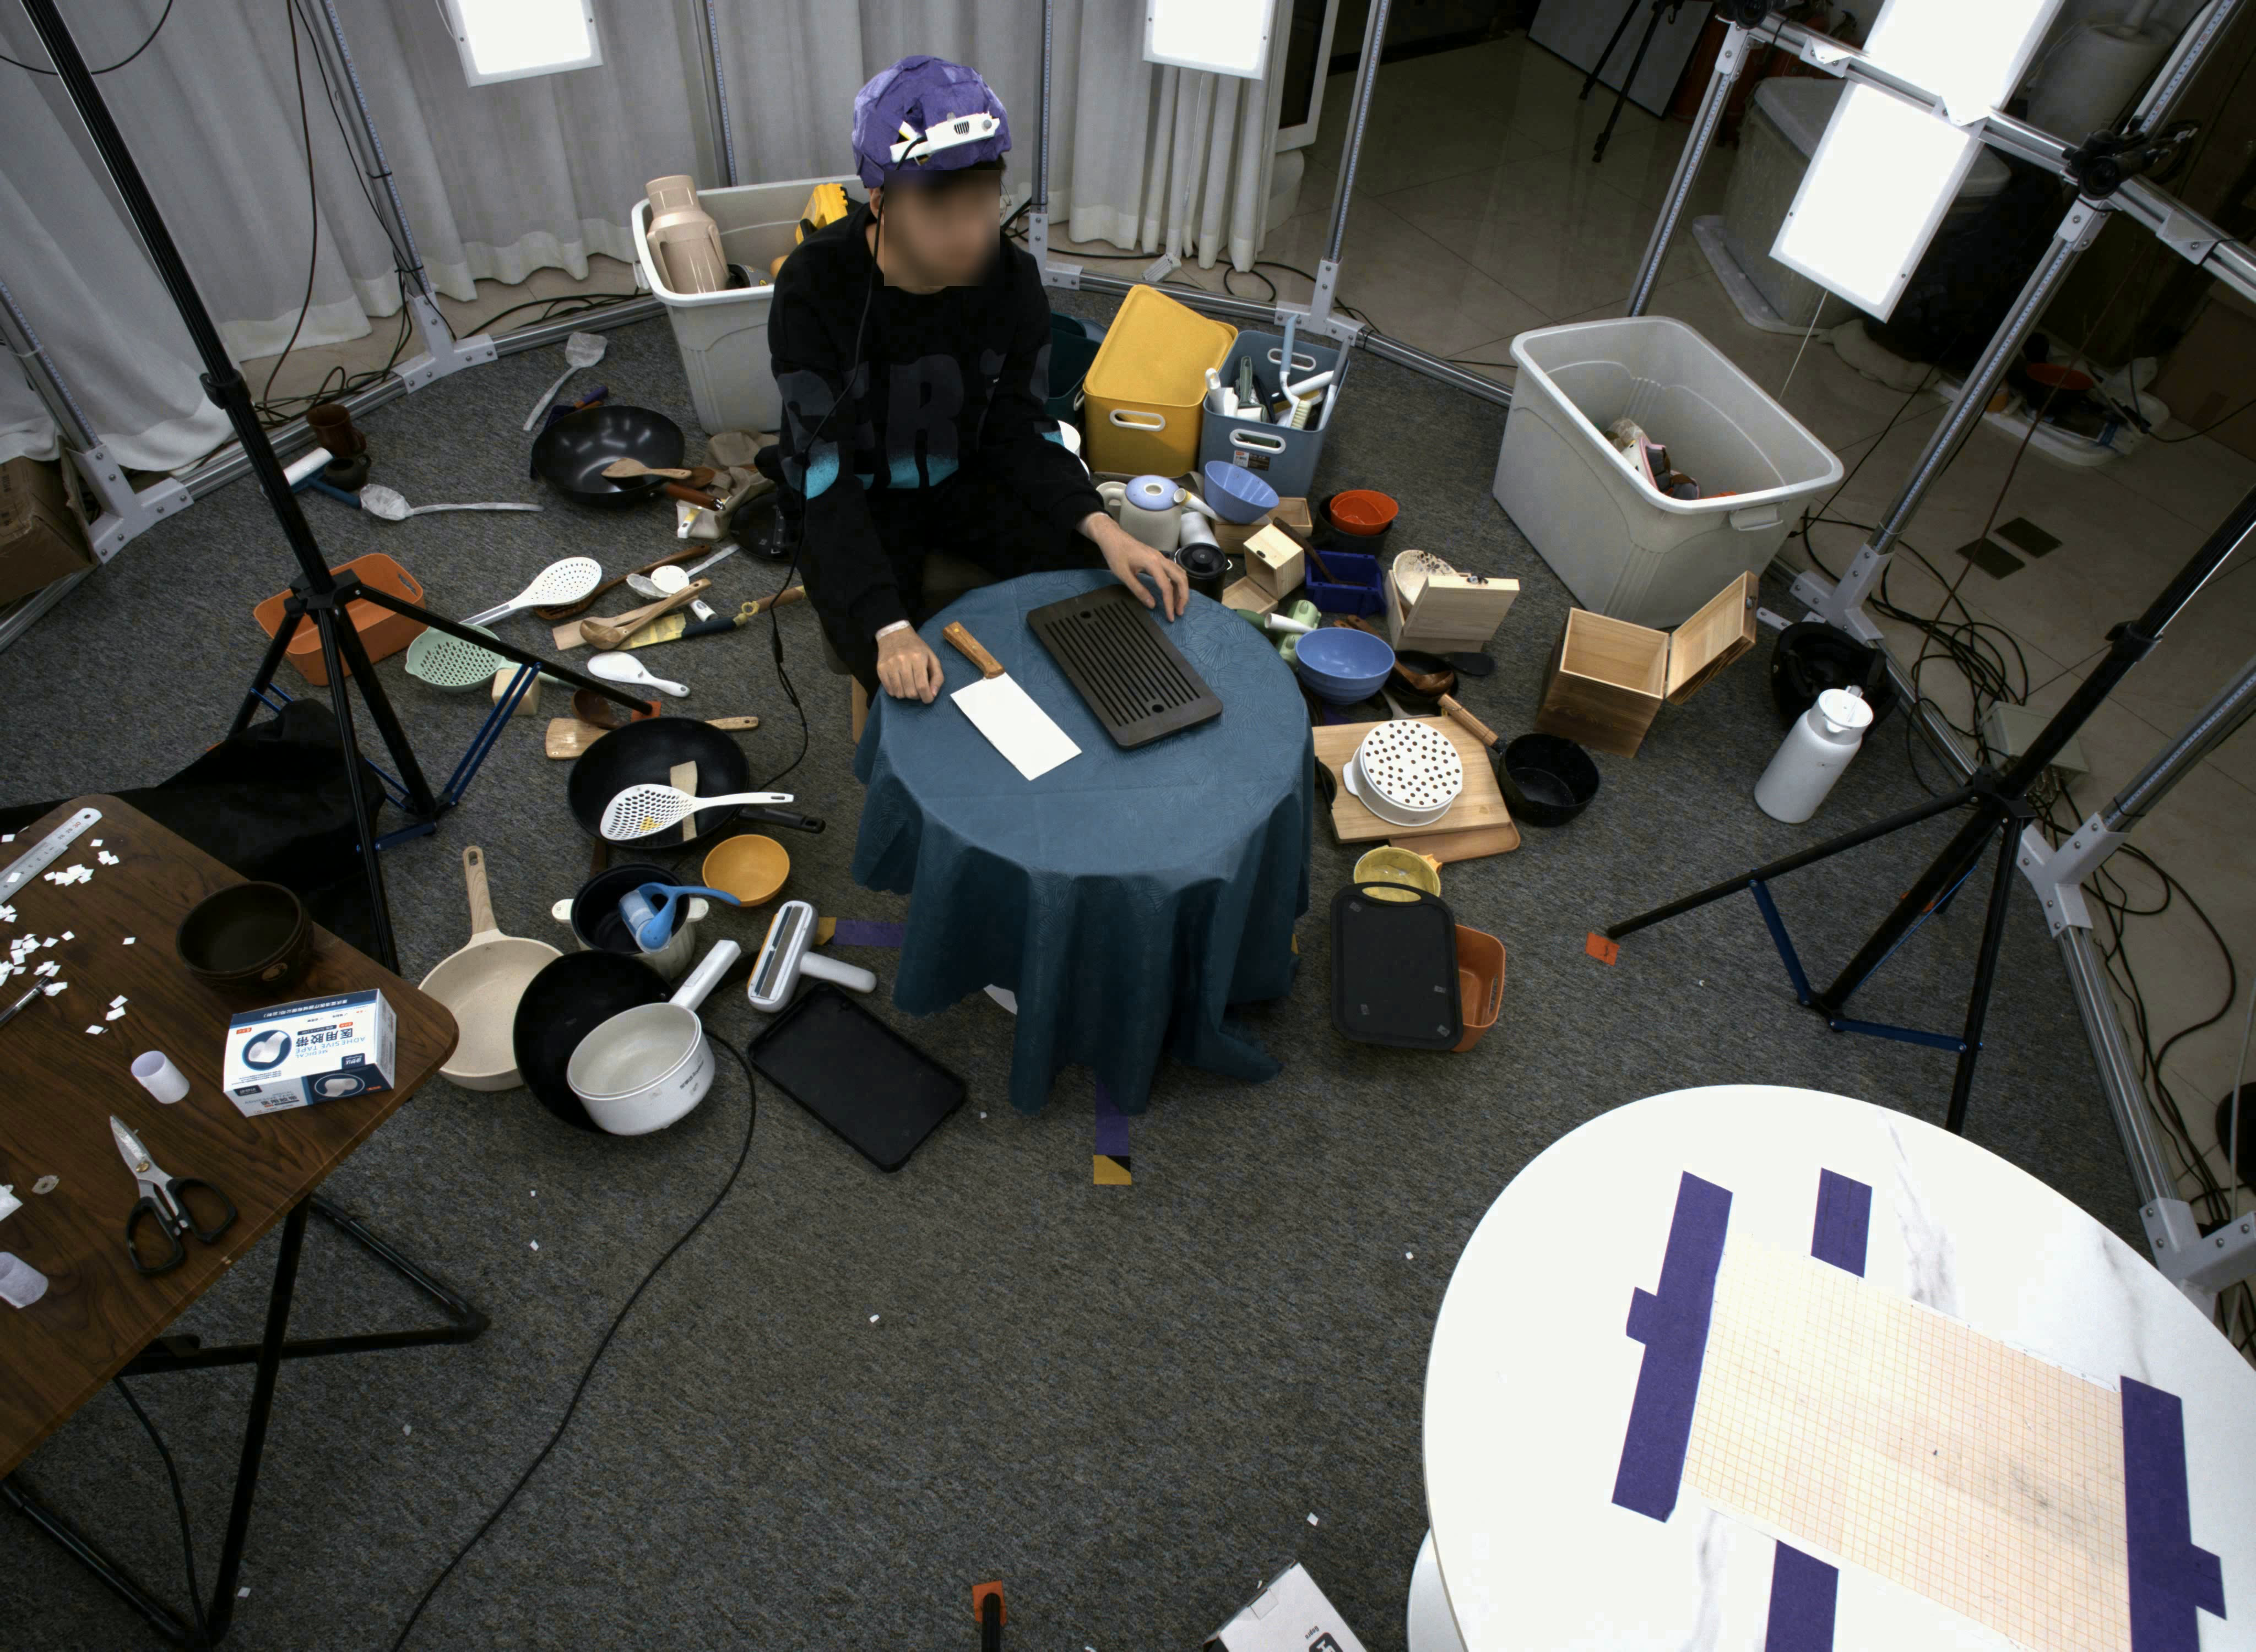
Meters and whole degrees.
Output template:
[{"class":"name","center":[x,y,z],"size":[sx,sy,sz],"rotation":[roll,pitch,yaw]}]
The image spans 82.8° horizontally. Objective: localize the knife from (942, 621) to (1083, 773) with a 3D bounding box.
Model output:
[{"class":"knife","center":[-0.186,-0.181,1.803],"size":[0.093,0.020,0.311],"rotation":[-30,59,-24]}]

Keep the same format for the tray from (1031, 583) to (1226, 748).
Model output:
[{"class":"tray","center":[-0.003,-0.237,1.862],"size":[0.170,0.018,0.312],"rotation":[-20,53,-20]}]
